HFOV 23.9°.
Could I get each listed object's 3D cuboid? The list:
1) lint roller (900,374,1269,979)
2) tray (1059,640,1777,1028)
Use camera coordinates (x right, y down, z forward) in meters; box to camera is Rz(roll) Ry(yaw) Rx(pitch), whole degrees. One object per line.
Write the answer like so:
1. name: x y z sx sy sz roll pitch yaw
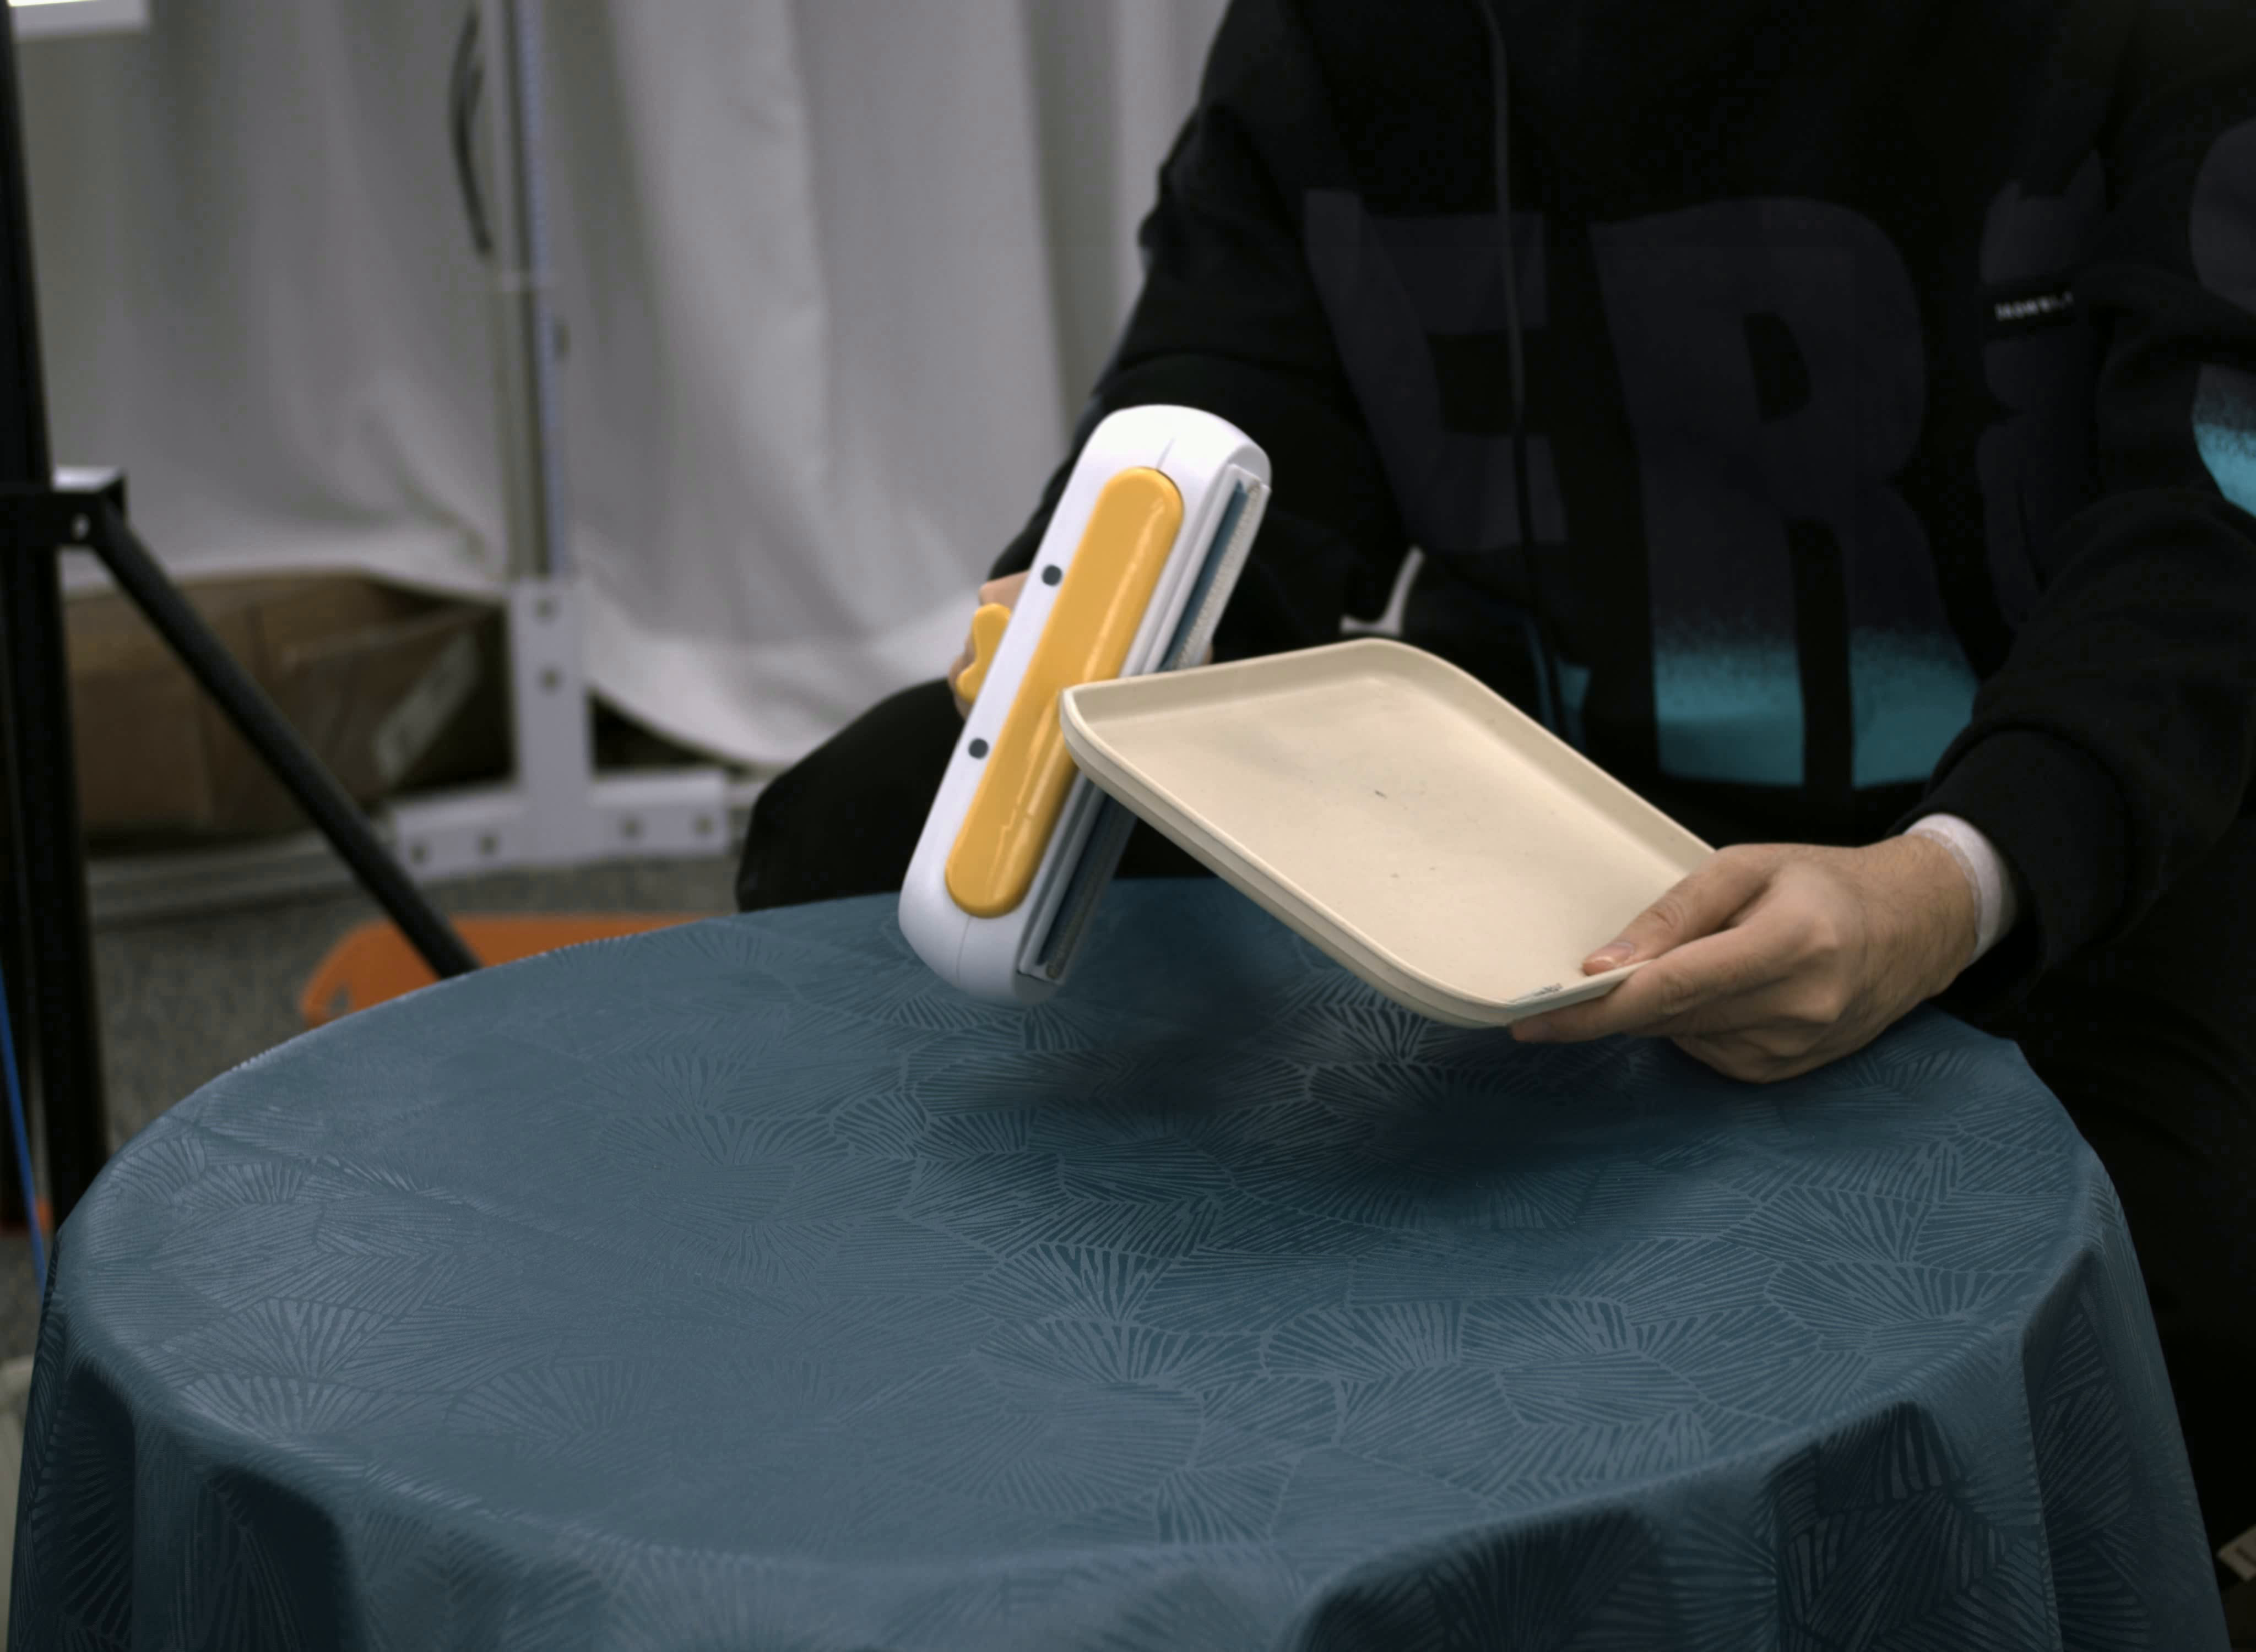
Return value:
1. lint roller: -0.011 -0.040 1.697 0.074 0.193 0.190 18 -5 11
2. tray: 0.090 0.001 1.617 0.174 0.017 0.234 37 23 24
